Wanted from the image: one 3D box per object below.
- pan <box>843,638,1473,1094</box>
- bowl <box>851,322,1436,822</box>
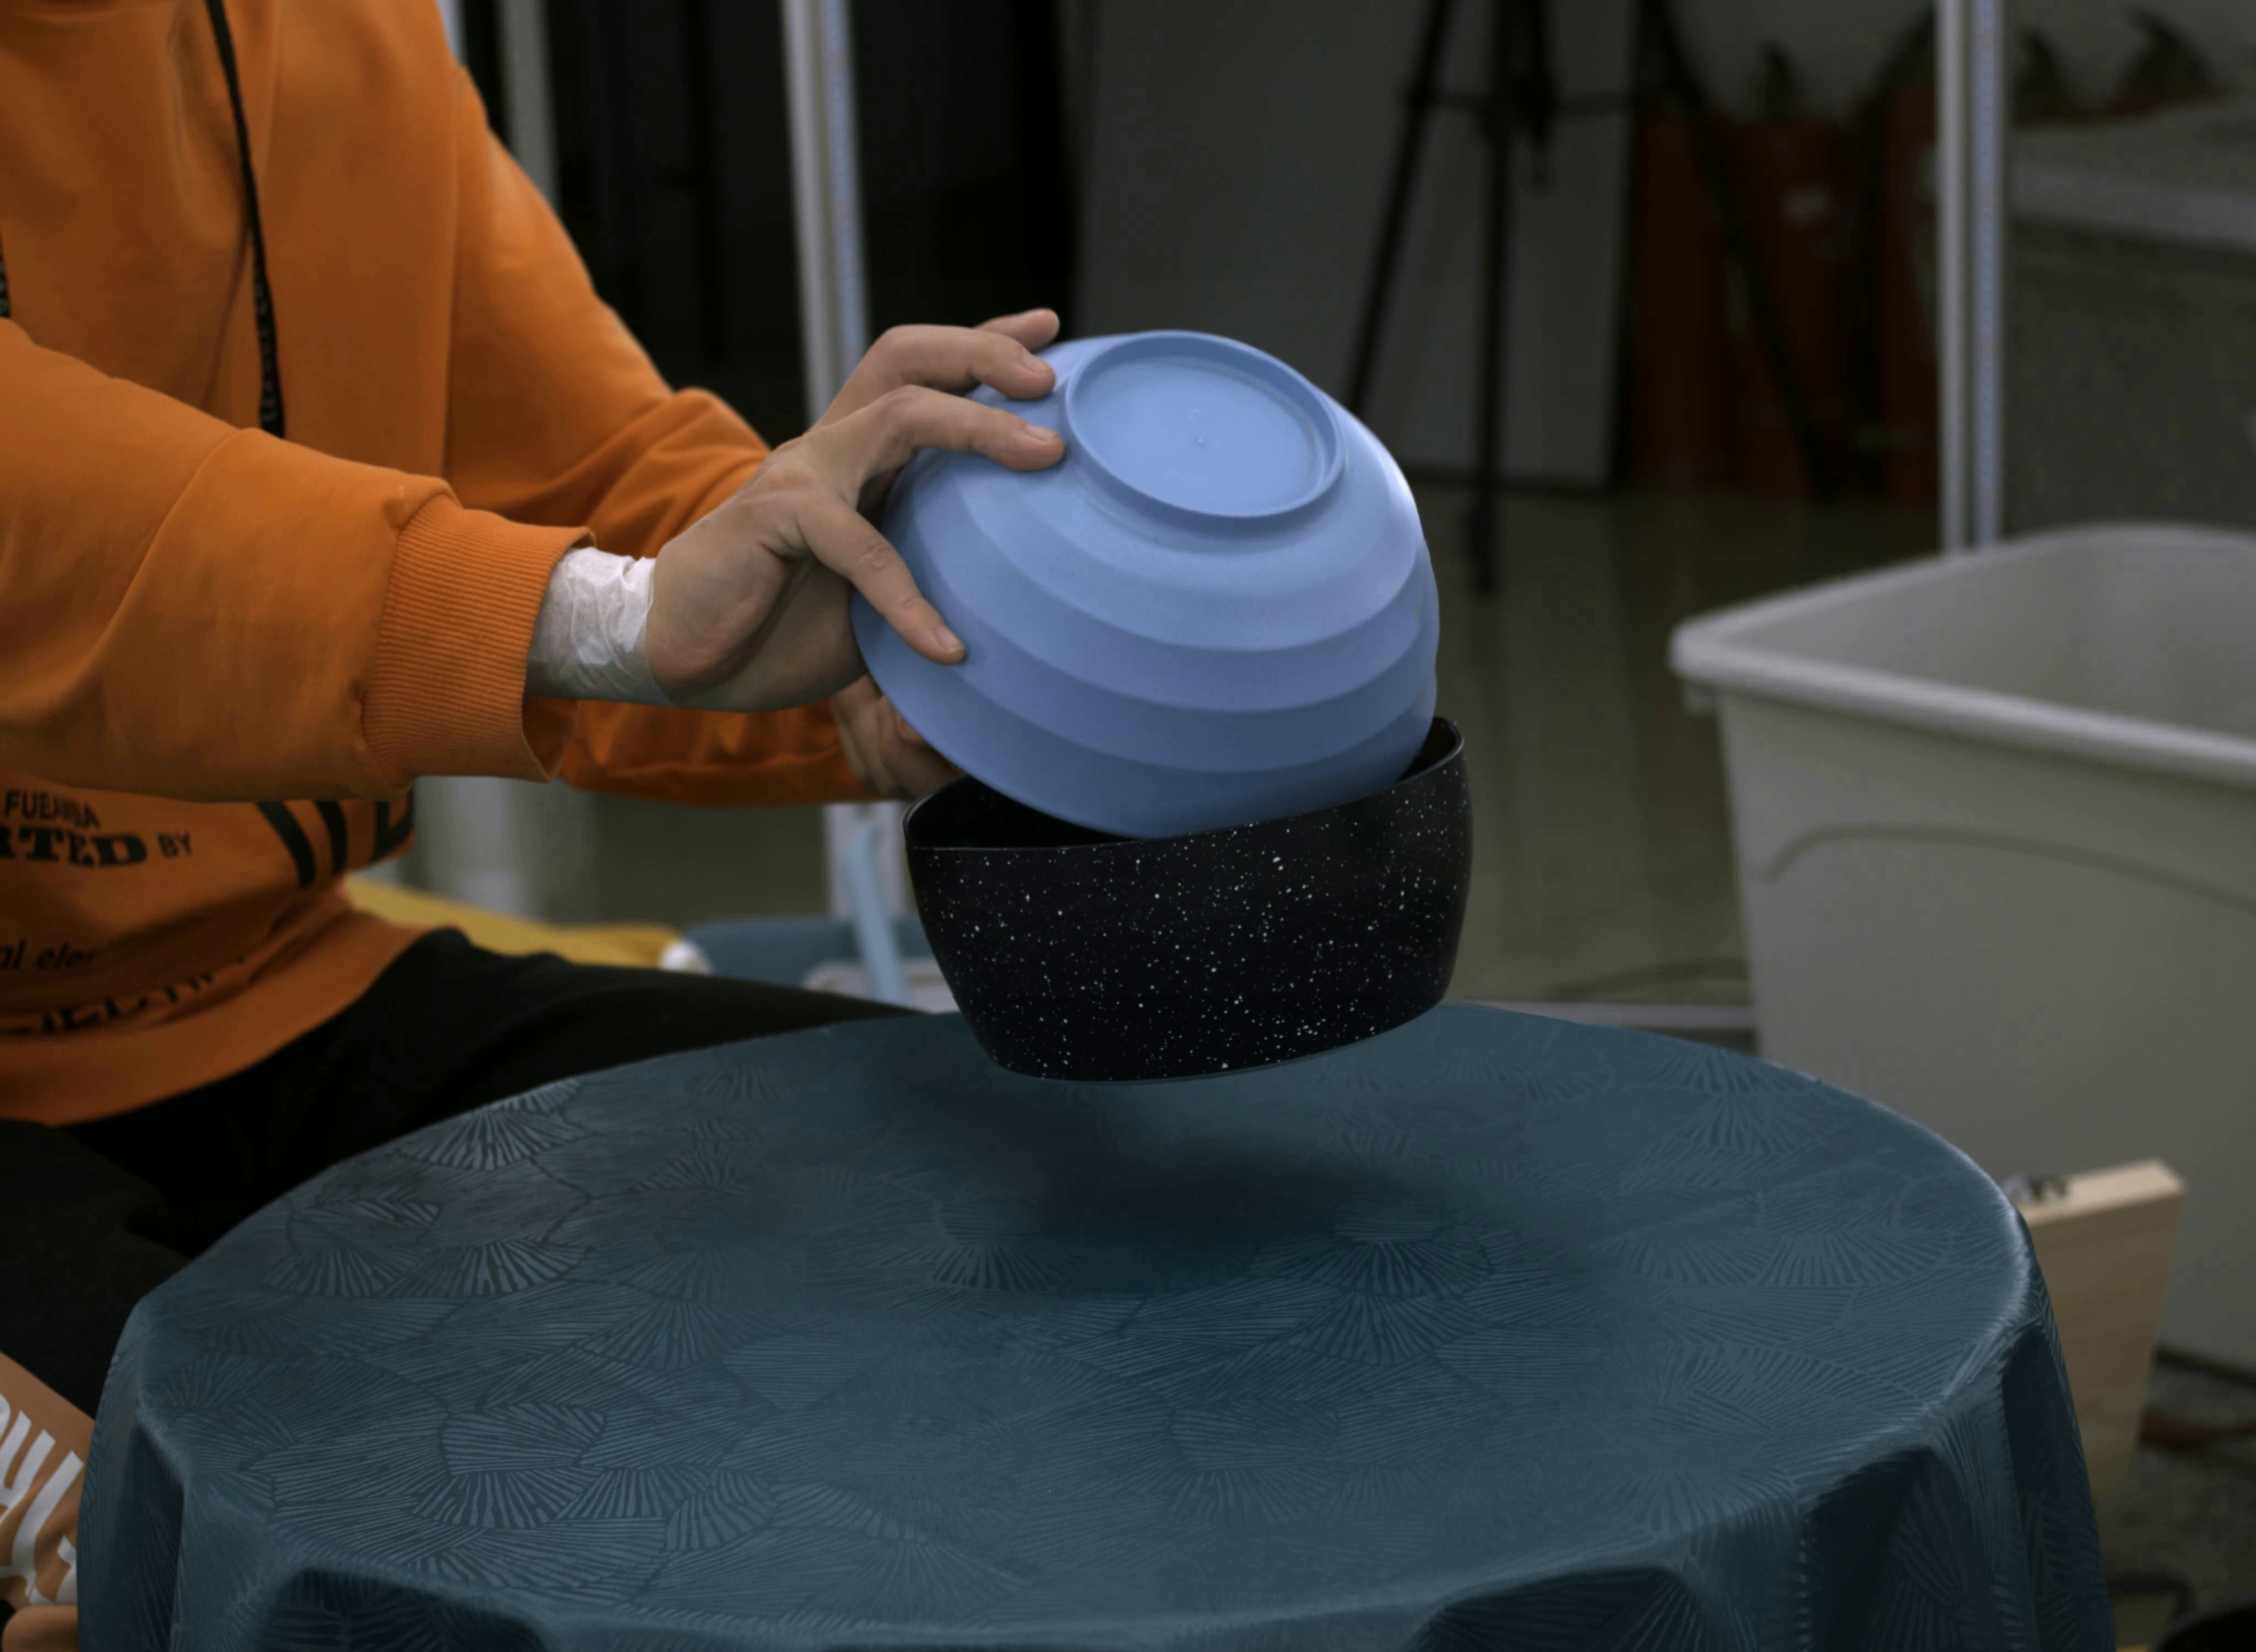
[{"bbox_3d":[-0.015,0.004,1.806,0.203,0.109,0.346,-15,13,-25],"label":"pan"},{"bbox_3d":[0.014,-0.095,1.726,0.193,0.096,0.198,8,41,-8],"label":"bowl"}]
